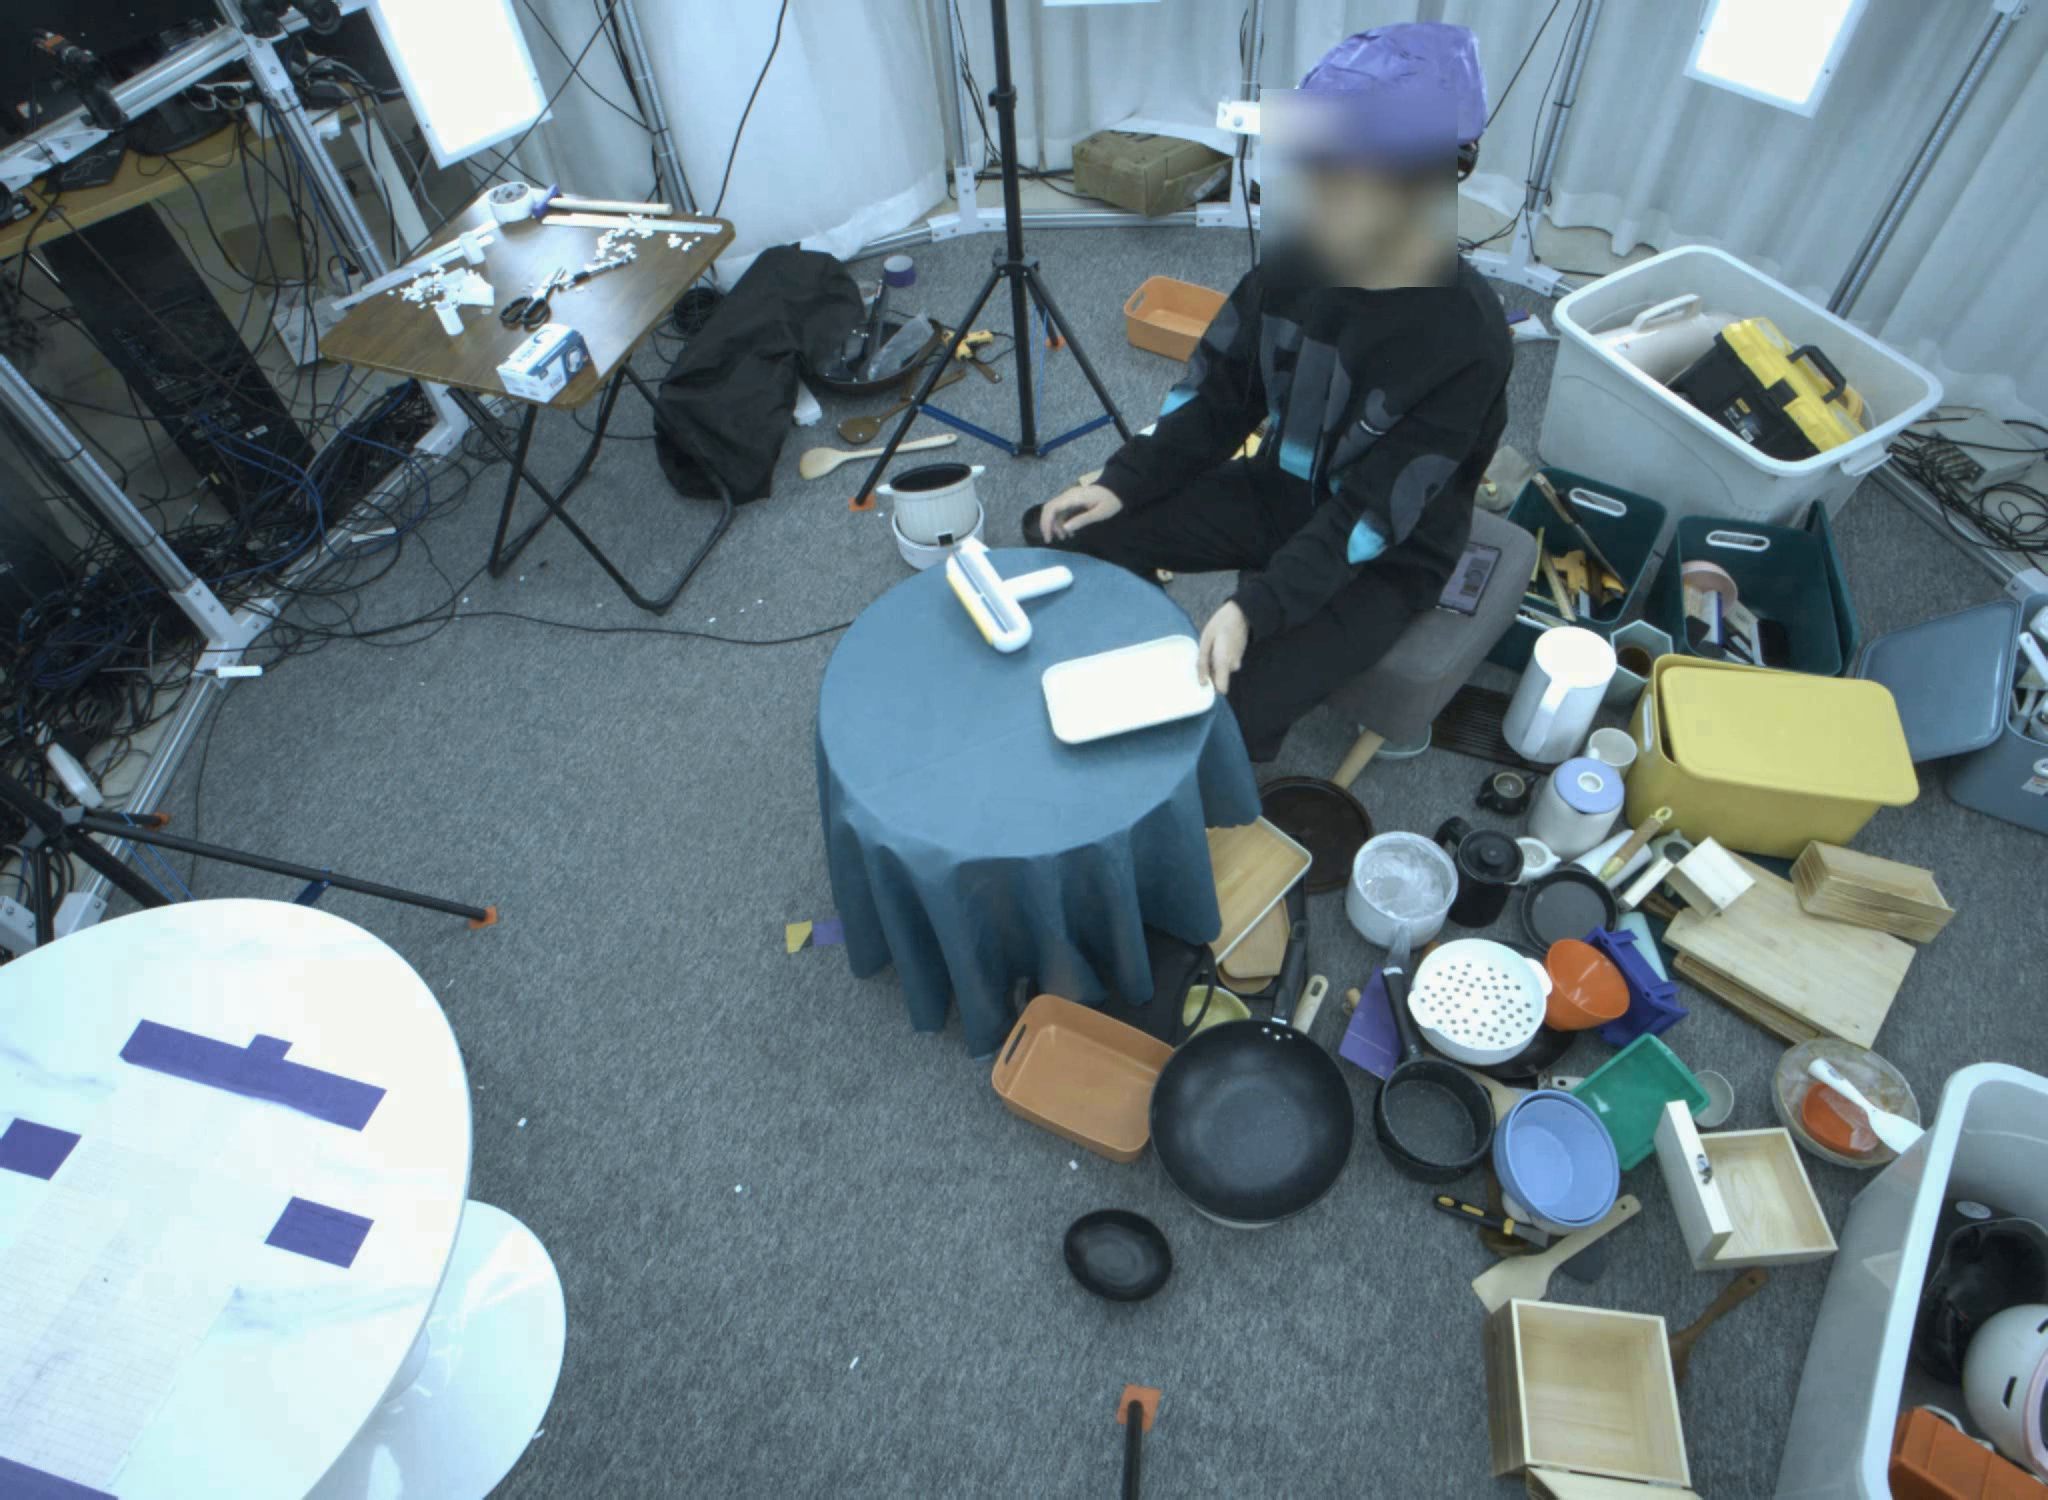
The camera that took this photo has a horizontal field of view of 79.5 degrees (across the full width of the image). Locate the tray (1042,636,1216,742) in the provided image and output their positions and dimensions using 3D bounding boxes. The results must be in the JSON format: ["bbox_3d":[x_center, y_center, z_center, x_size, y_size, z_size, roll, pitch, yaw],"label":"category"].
[{"bbox_3d":[0.152,-0.089,1.805,0.240,0.018,0.168,-13,44,0],"label":"tray"}]

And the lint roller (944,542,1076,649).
[{"bbox_3d":[-0.007,-0.257,1.924,0.194,0.075,0.189,-23,62,-15],"label":"lint roller"}]
